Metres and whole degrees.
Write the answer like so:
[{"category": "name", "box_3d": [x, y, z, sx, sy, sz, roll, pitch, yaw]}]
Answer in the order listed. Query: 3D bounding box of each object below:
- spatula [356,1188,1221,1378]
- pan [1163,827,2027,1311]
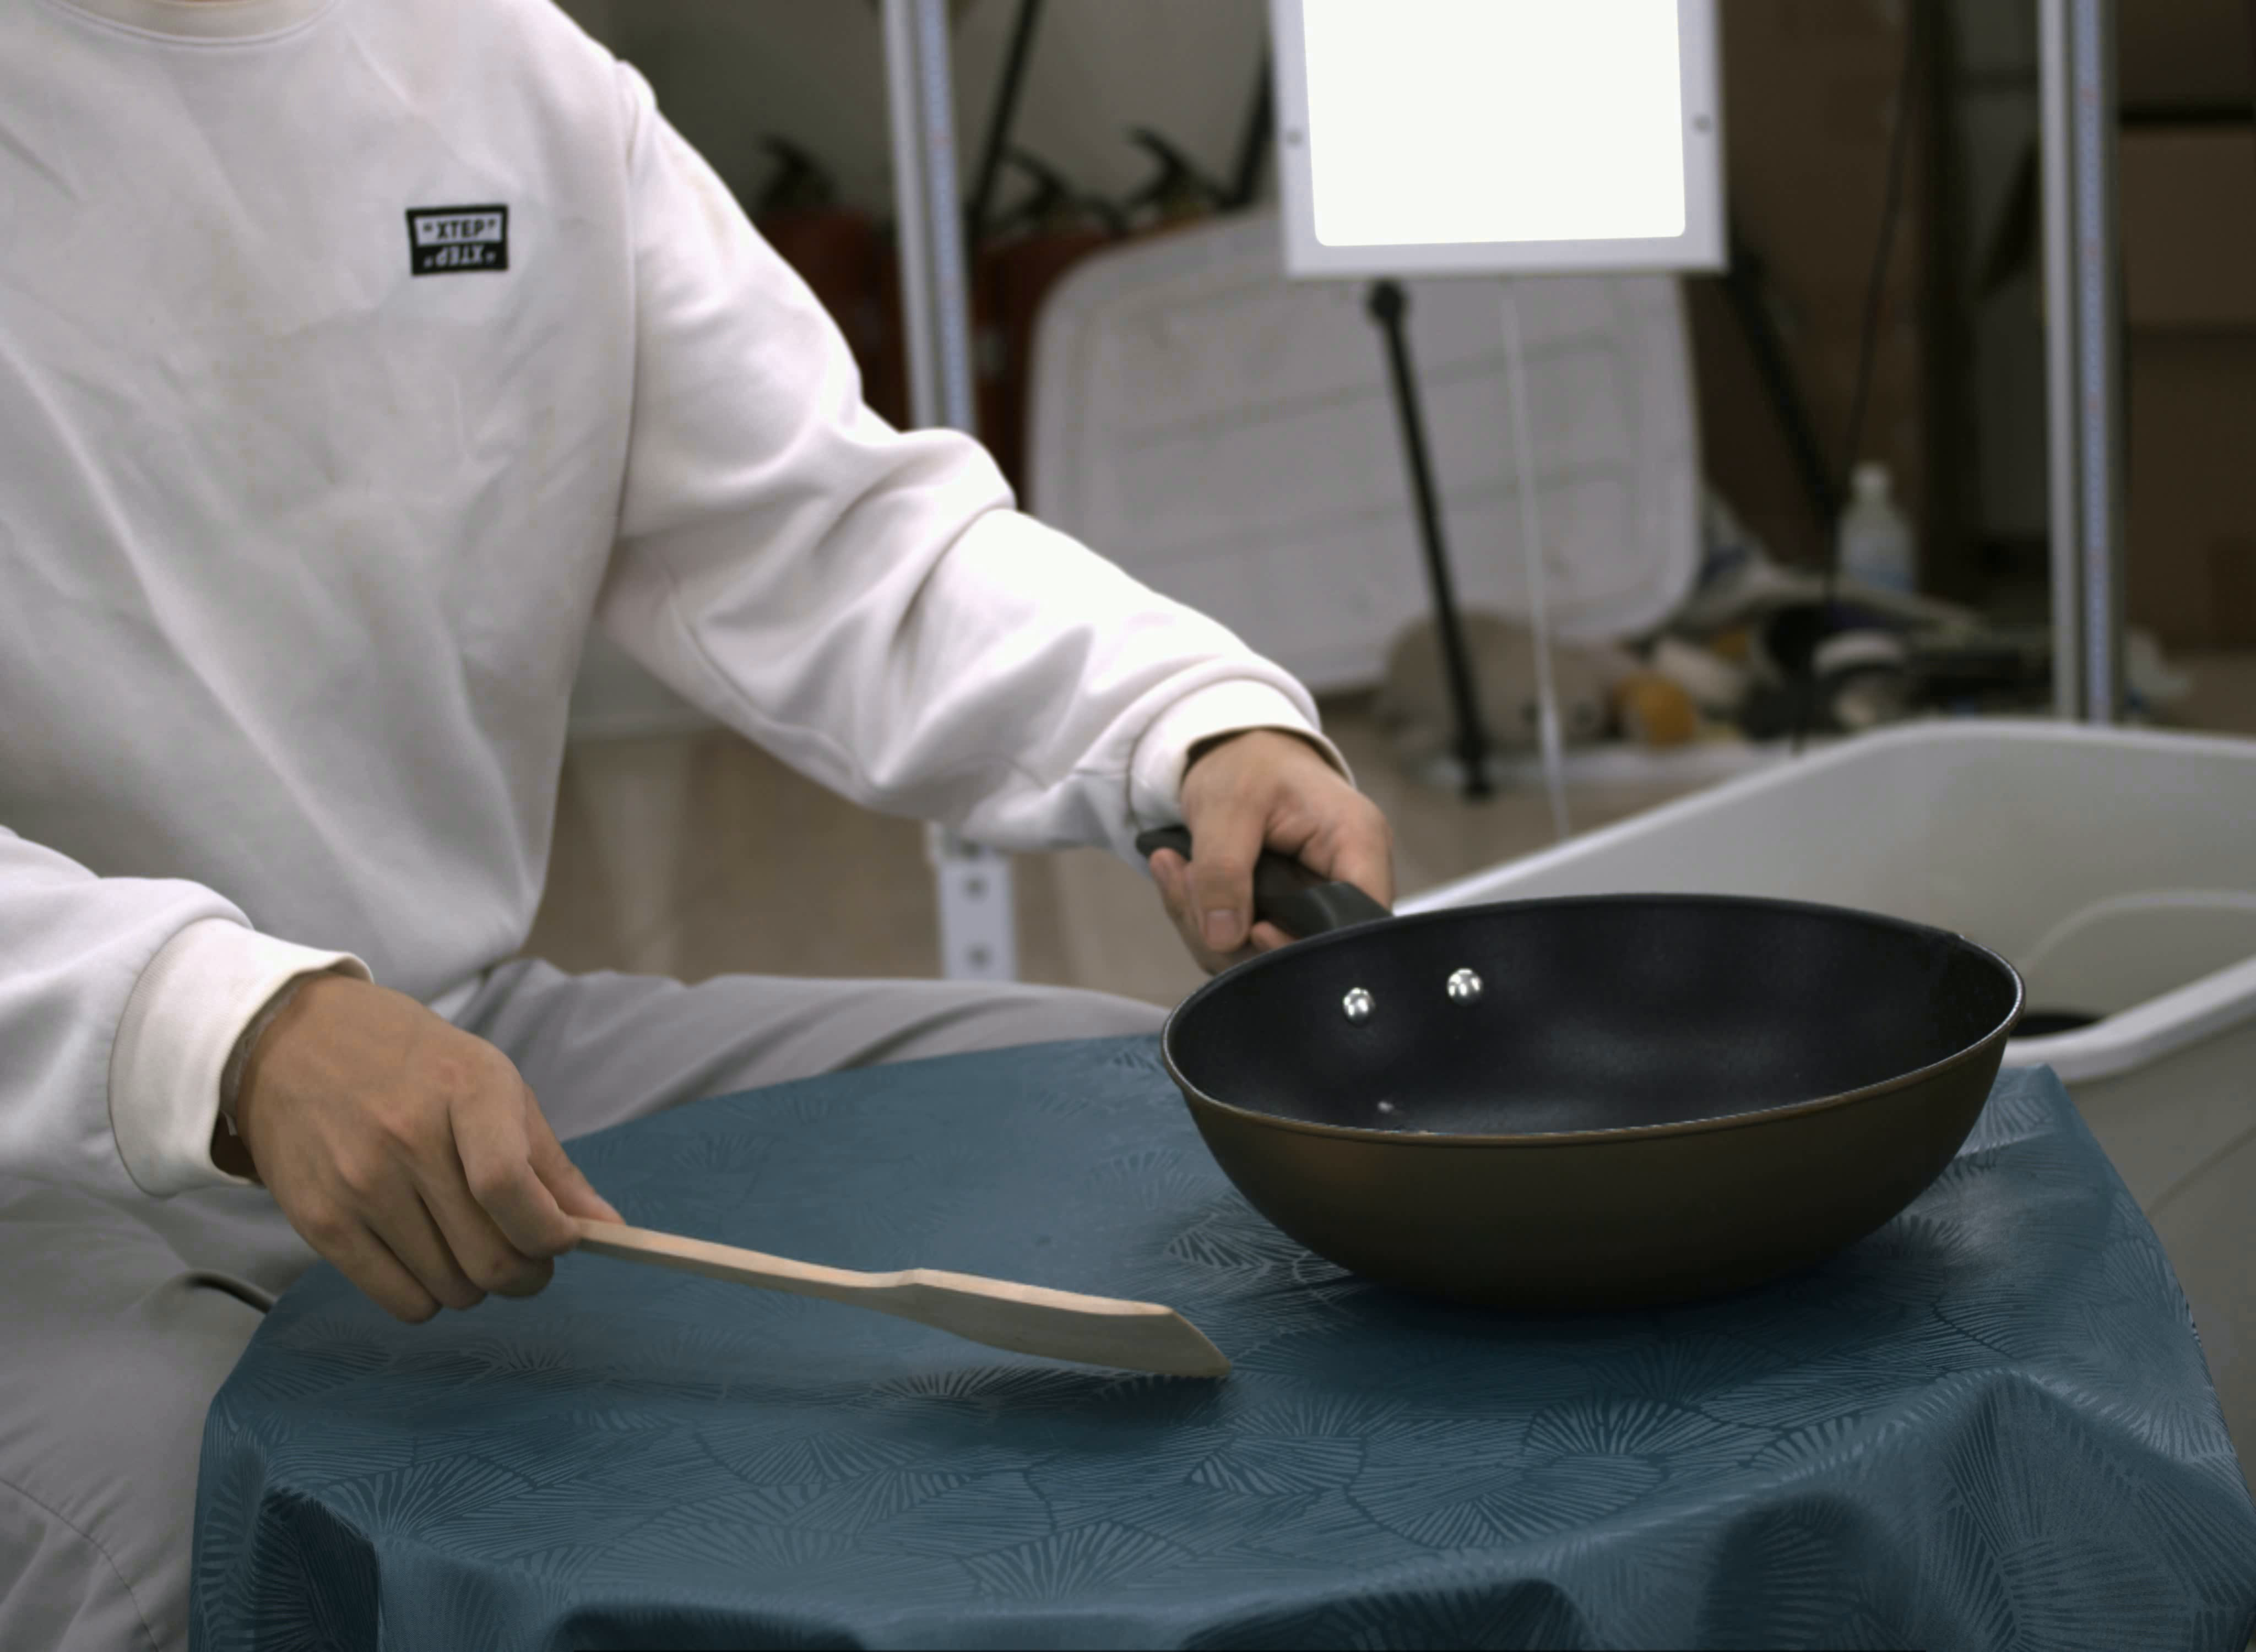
[{"category": "spatula", "box_3d": [-0.114, 0.141, 1.733, 0.297, 0.010, 0.071, 8, -18, 24]}, {"category": "pan", "box_3d": [0.116, 0.079, 1.871, 0.282, 0.087, 0.470, -10, 14, -22]}]
